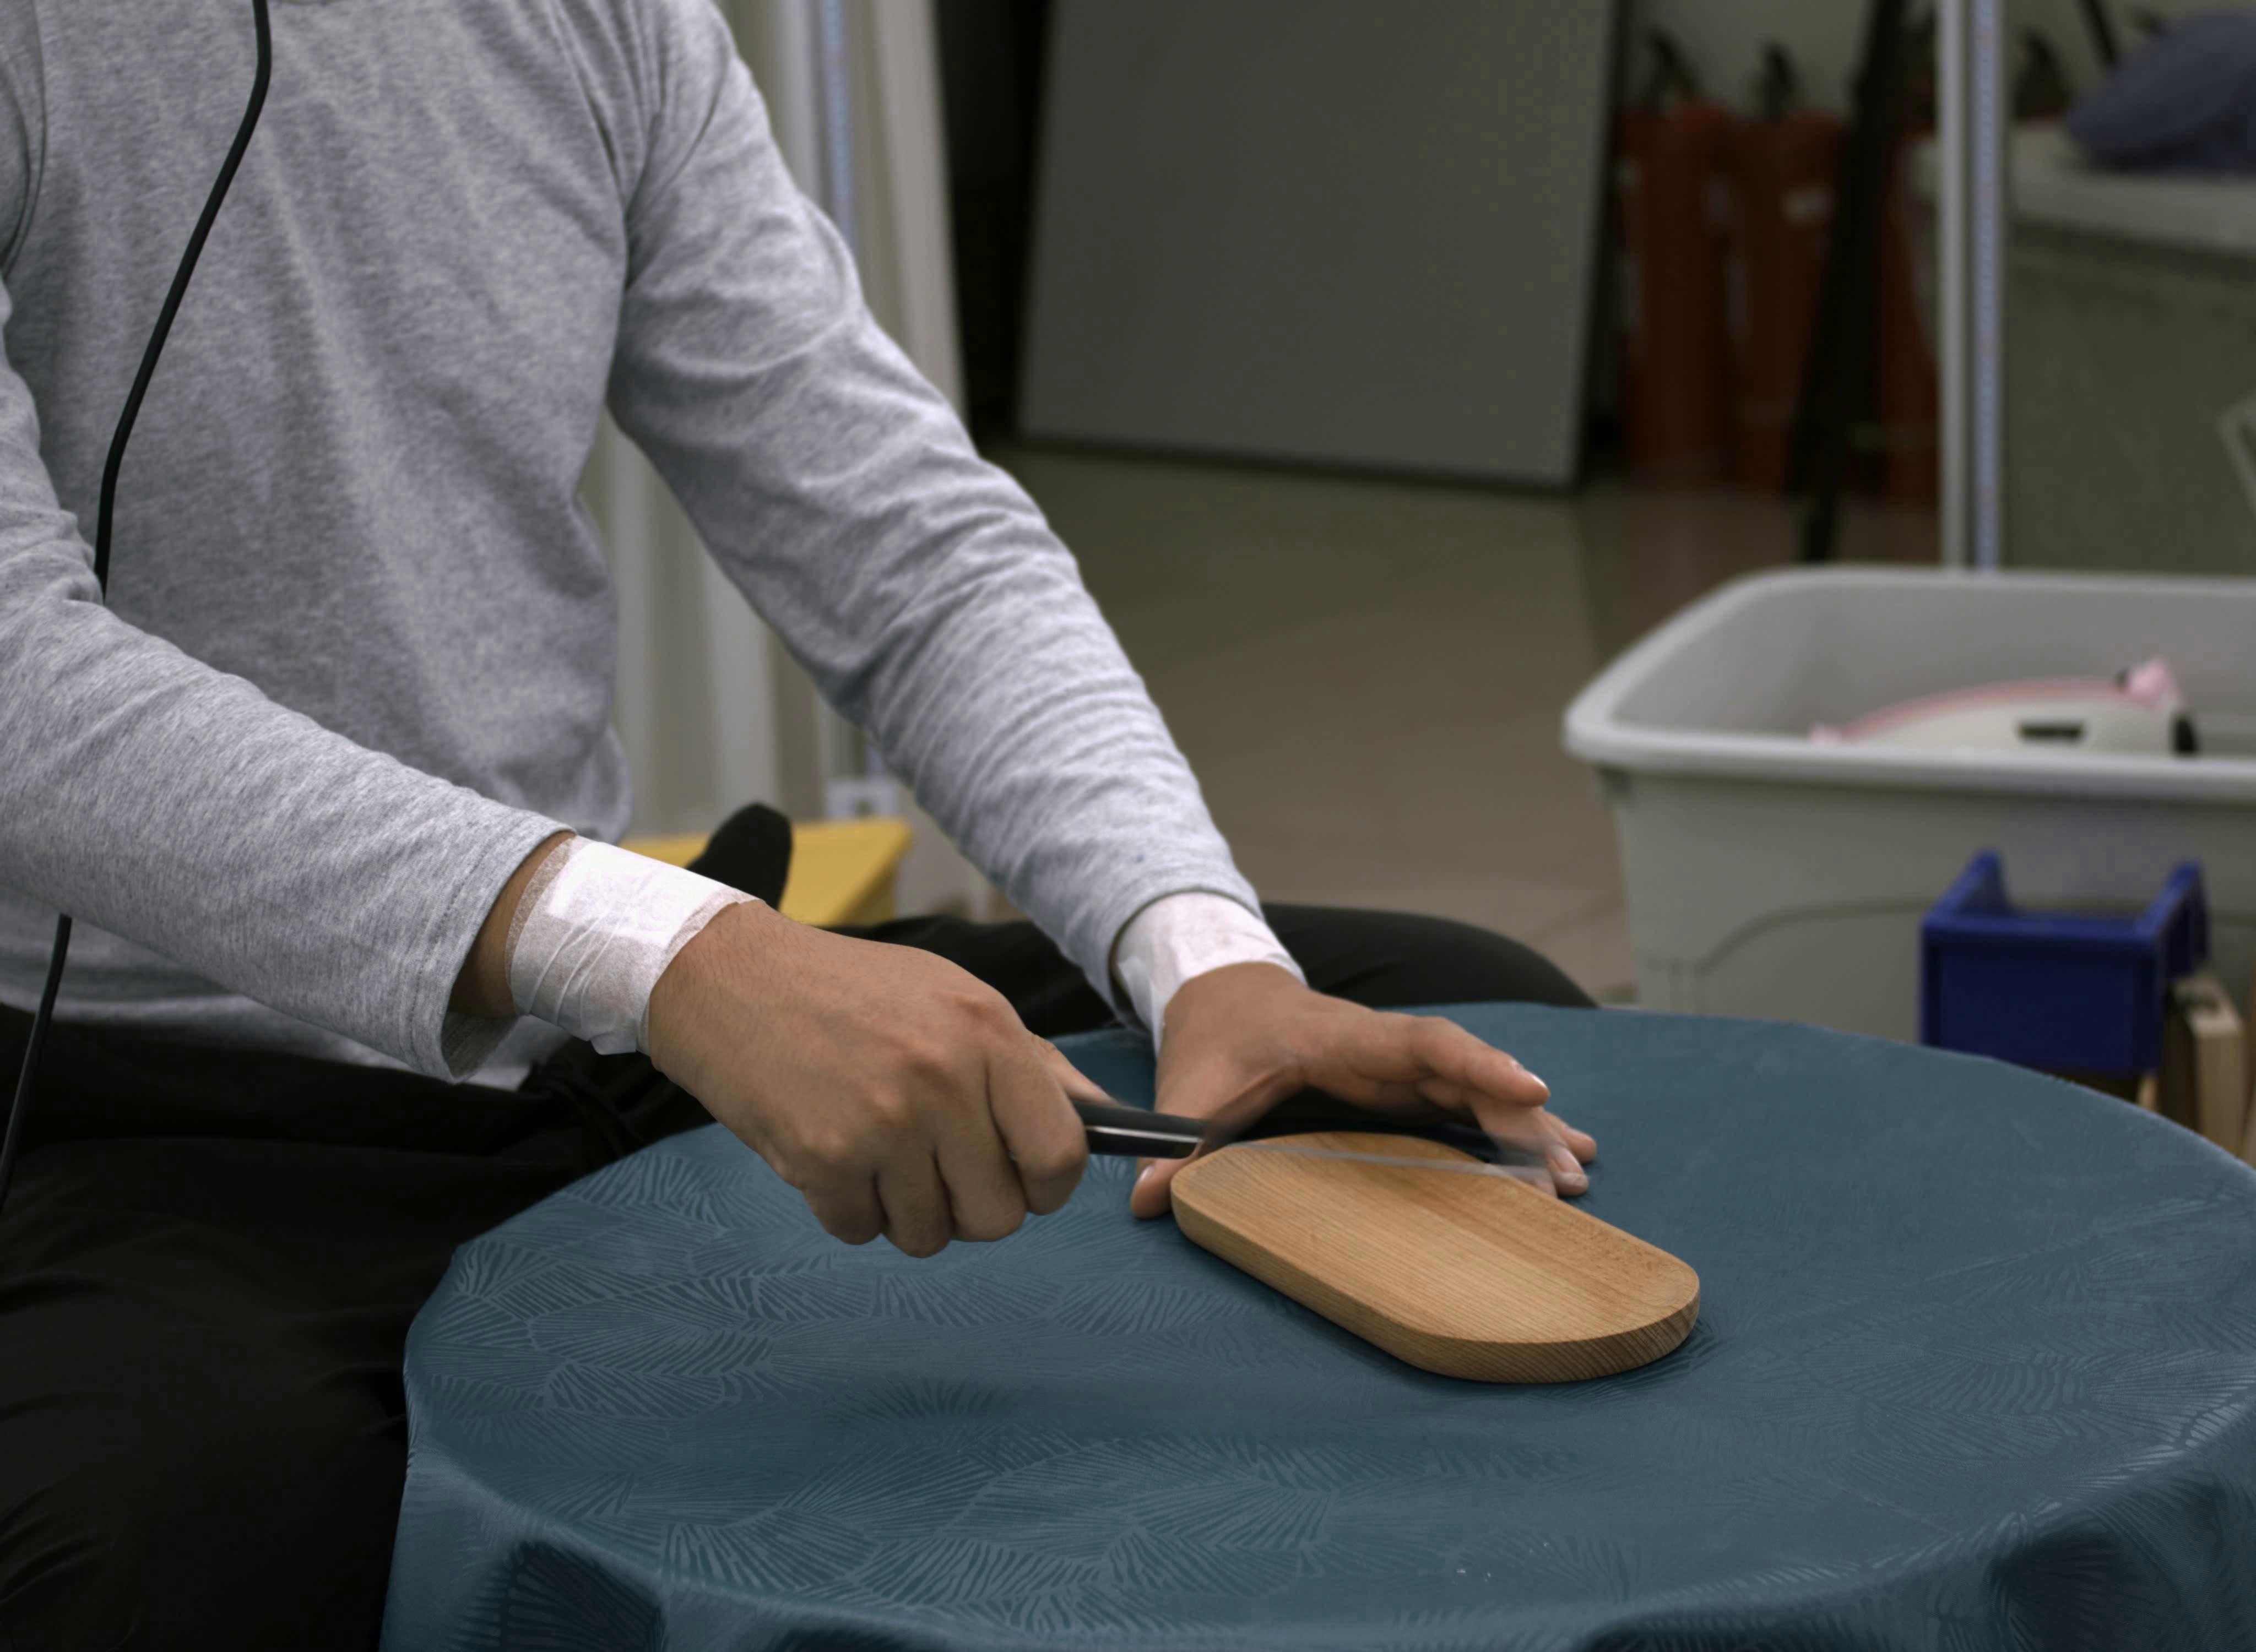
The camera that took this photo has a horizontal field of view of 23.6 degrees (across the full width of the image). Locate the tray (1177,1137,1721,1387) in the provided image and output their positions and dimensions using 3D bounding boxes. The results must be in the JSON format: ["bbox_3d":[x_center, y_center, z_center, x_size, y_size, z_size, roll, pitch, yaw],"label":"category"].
[{"bbox_3d":[0.097,0.133,1.666,0.099,0.020,0.233,-13,17,-25],"label":"tray"}]

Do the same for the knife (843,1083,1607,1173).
[{"bbox_3d":[0.025,0.091,1.579,0.237,0.016,0.024,4,-8,19],"label":"knife"}]
